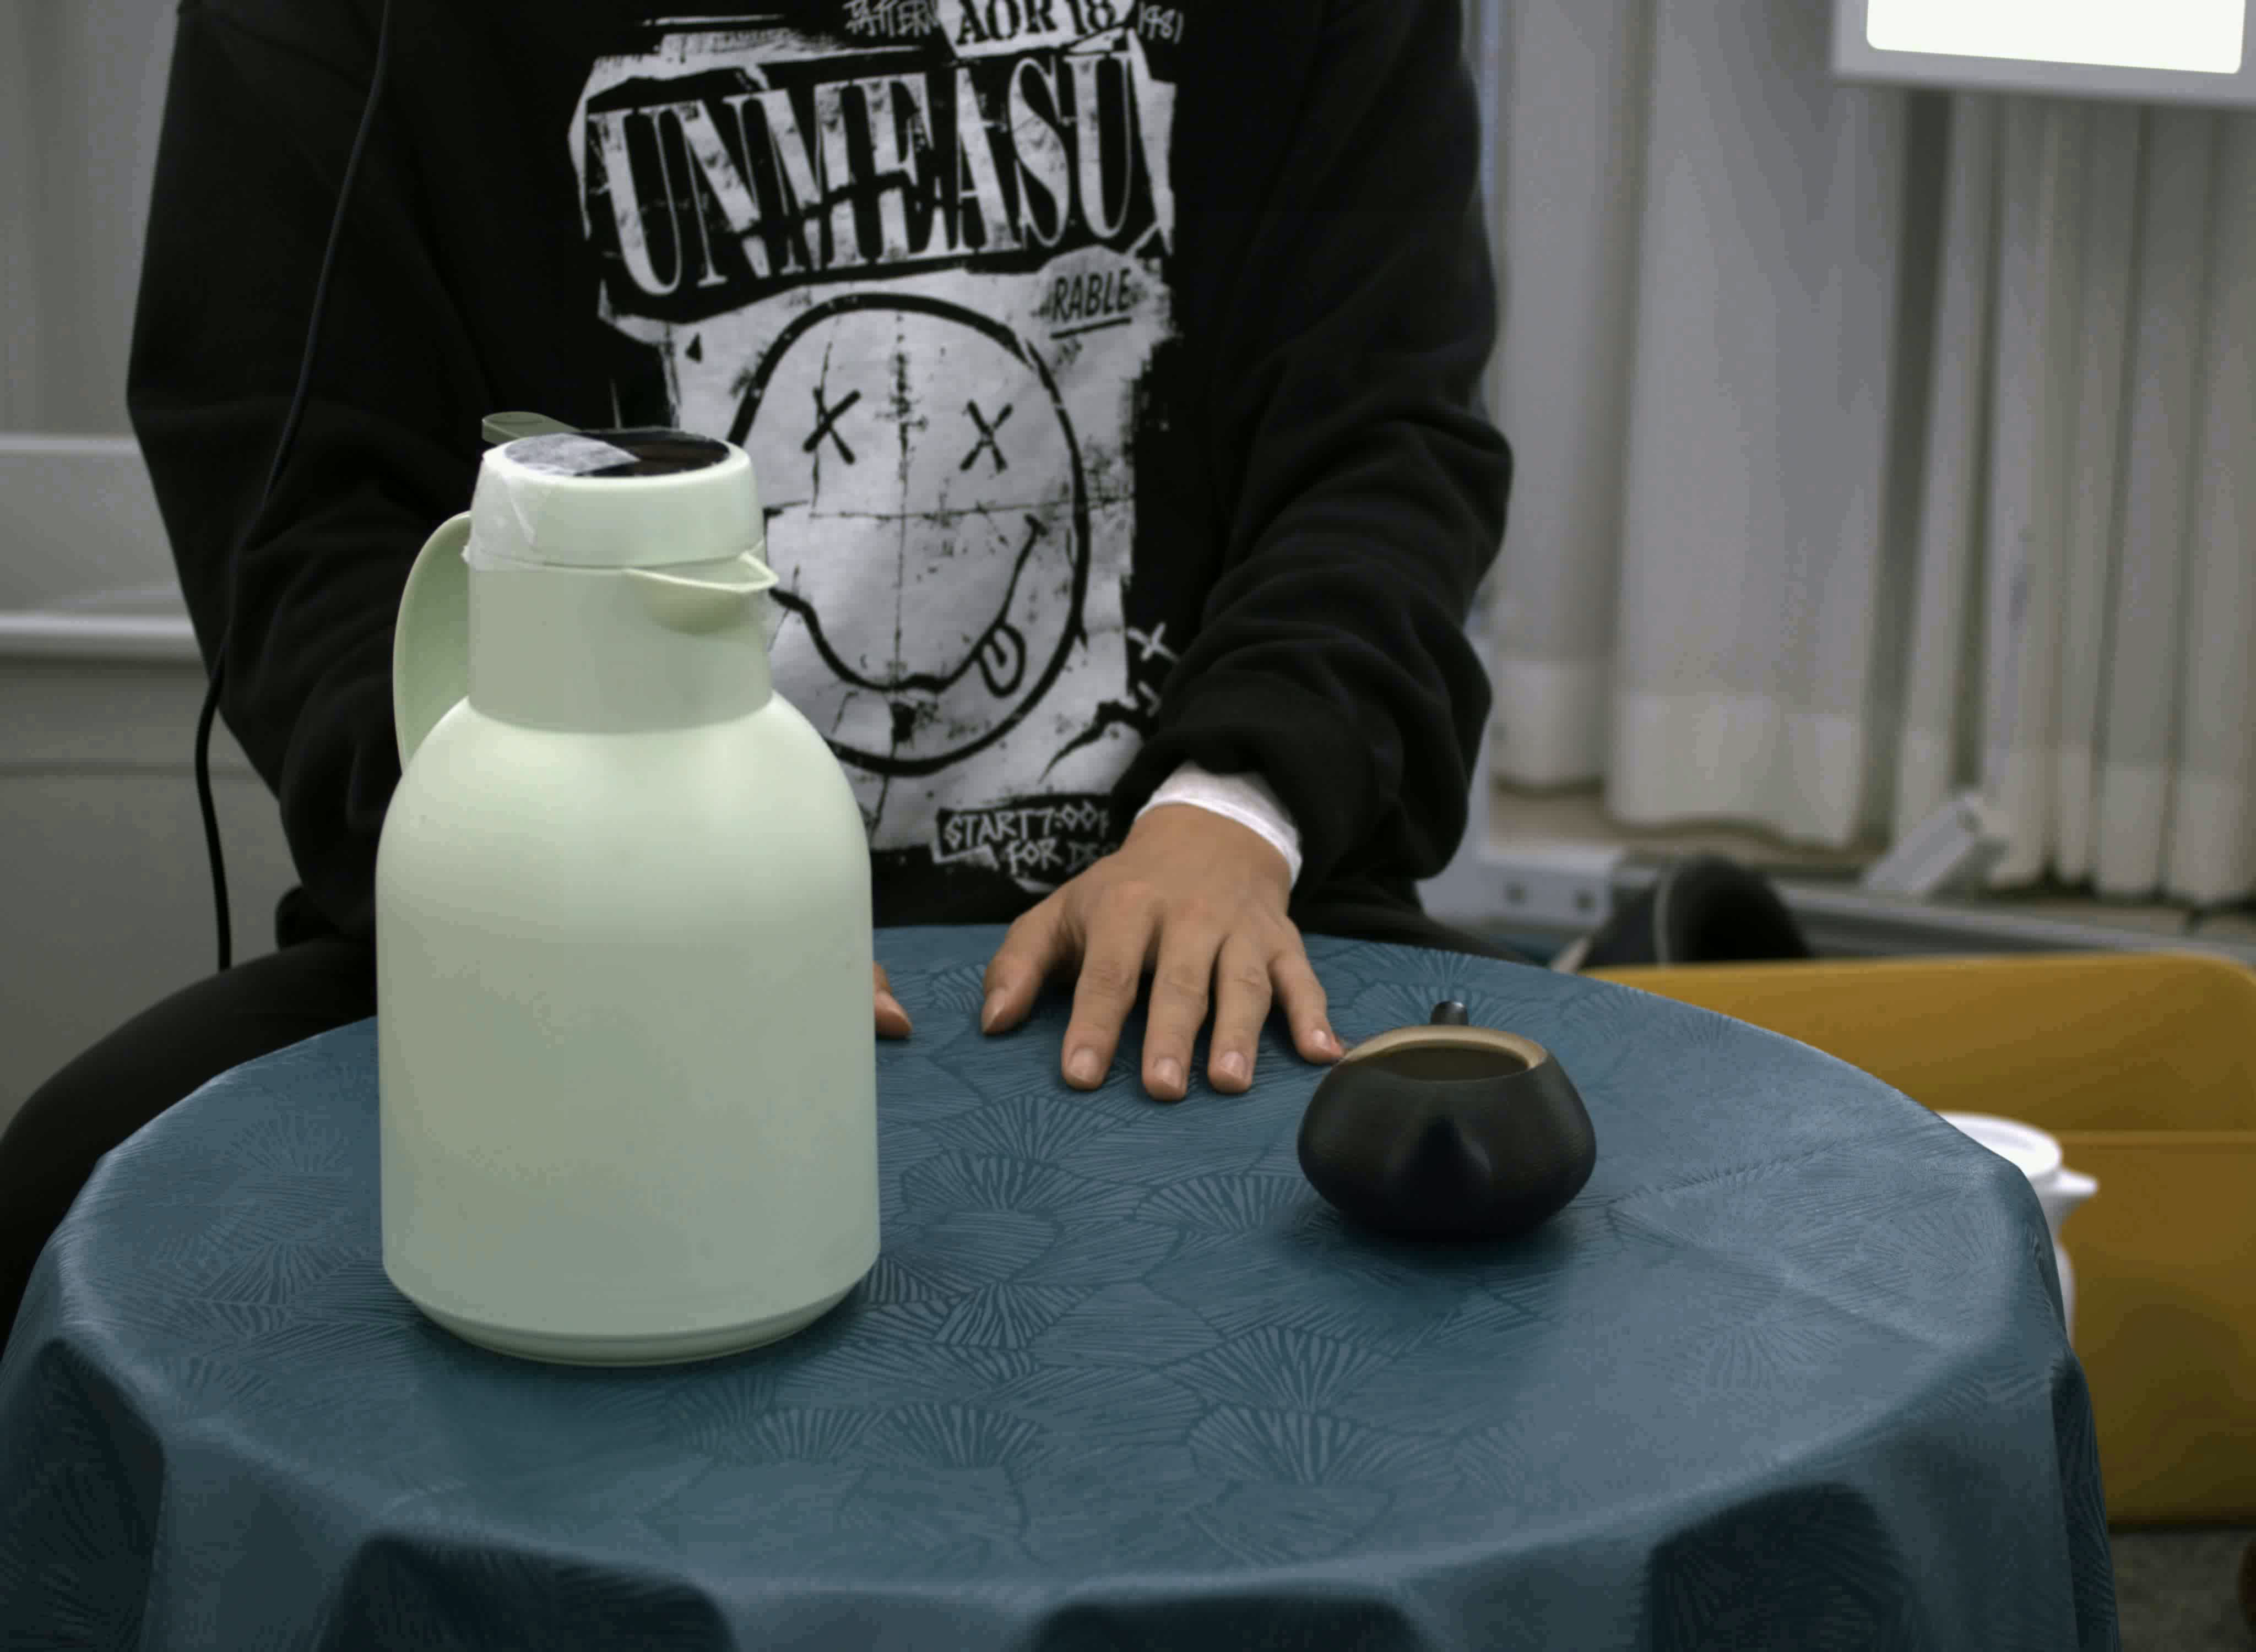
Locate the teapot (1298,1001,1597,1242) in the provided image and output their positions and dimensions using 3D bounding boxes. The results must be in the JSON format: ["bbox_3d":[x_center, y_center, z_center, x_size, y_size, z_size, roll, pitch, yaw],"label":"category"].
[{"bbox_3d":[0.097,0.093,1.595,0.090,0.053,0.132,3,16,4],"label":"teapot"}]

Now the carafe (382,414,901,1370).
[{"bbox_3d":[-0.150,0.013,1.508,0.145,0.259,0.184,-14,18,-35],"label":"carafe"}]
